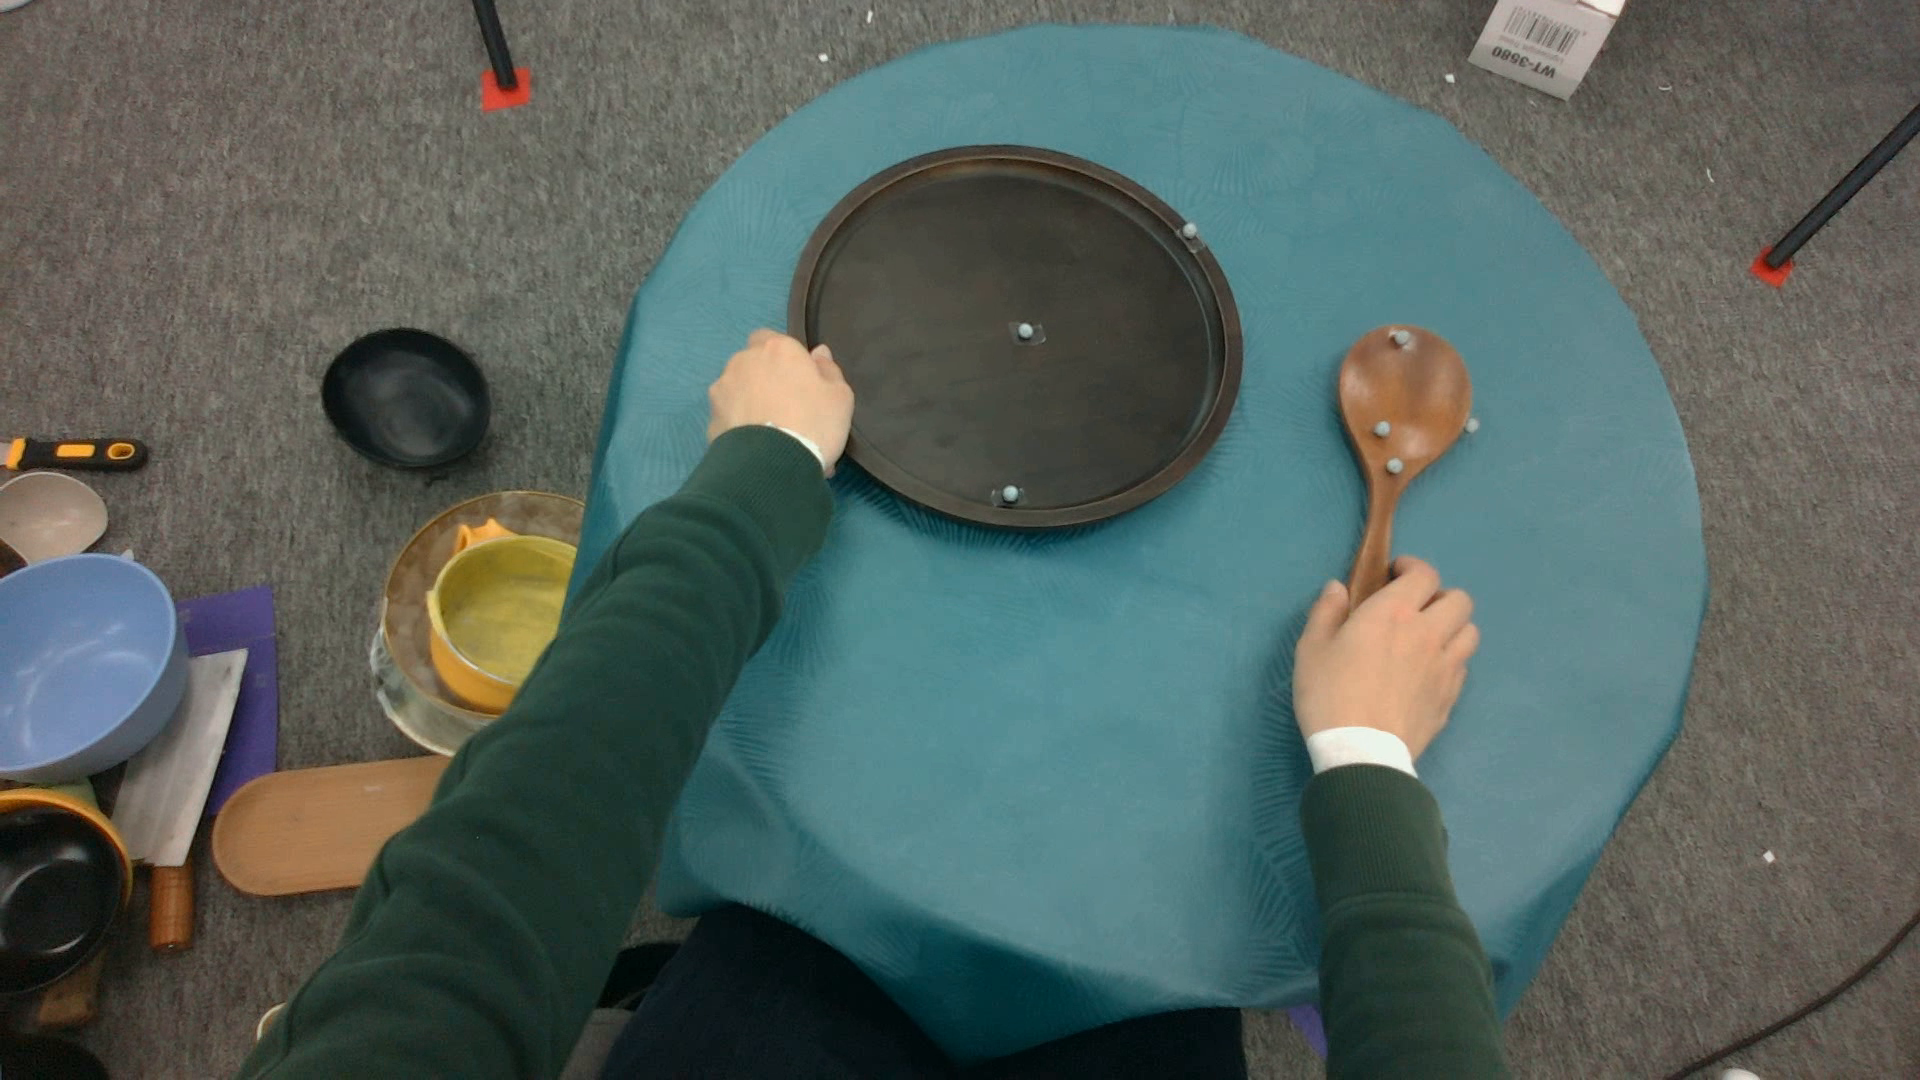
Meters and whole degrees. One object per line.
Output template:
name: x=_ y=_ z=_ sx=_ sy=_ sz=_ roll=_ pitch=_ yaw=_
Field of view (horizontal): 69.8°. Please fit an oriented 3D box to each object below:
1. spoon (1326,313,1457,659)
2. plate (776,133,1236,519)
spoon: x=0.224 y=-0.034 z=0.742 sx=0.075 sy=0.017 sz=0.217 roll=16 pitch=63 yaw=2
plate: x=0.026 y=-0.123 z=0.760 sx=0.255 sy=0.029 sz=0.256 roll=3 pitch=62 yaw=-6
